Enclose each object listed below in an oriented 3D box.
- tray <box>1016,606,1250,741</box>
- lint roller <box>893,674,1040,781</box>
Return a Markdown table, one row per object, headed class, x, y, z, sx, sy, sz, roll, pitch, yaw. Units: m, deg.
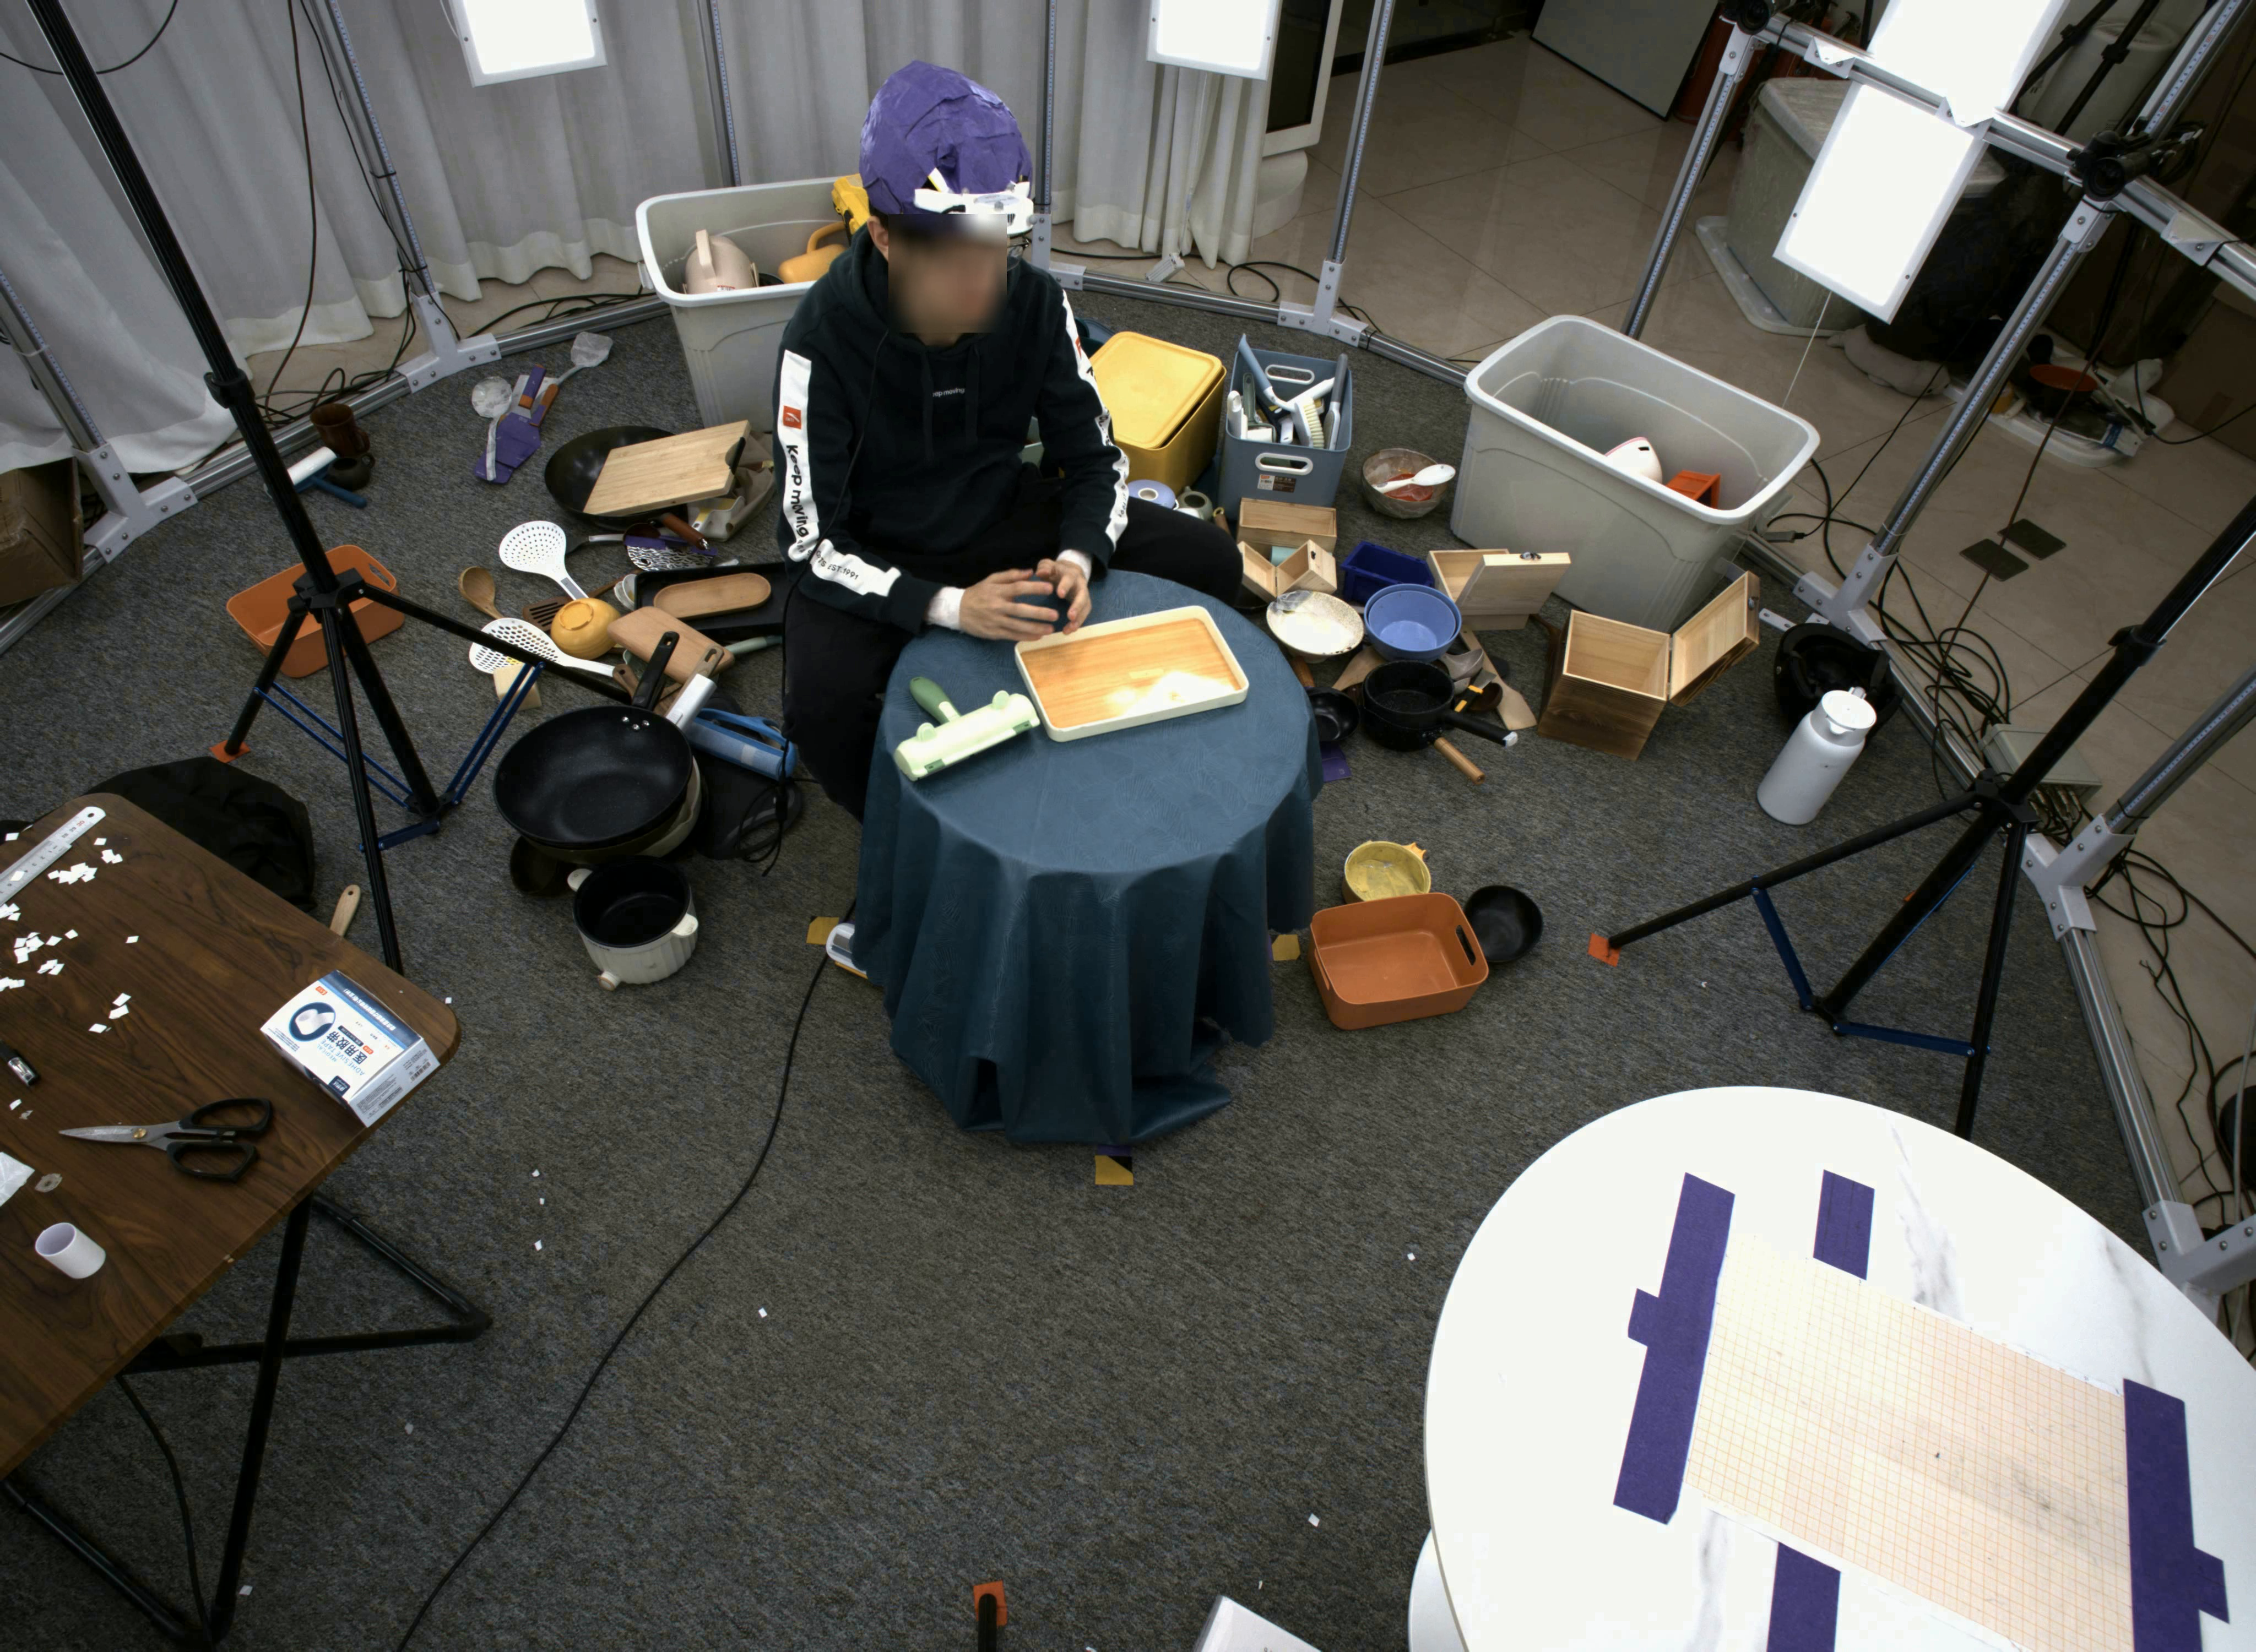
| class | x | y | z | sx | sy | sz | roll | pitch | yaw |
| --- | --- | --- | --- | --- | --- | --- | --- | --- | --- |
| tray | 0.005 | -0.223 | 1.844 | 0.300 | 0.027 | 0.196 | -13 | 51 | -15 |
| lint roller | -0.247 | -0.163 | 1.743 | 0.199 | 0.080 | 0.187 | -26 | 60 | -24 |
